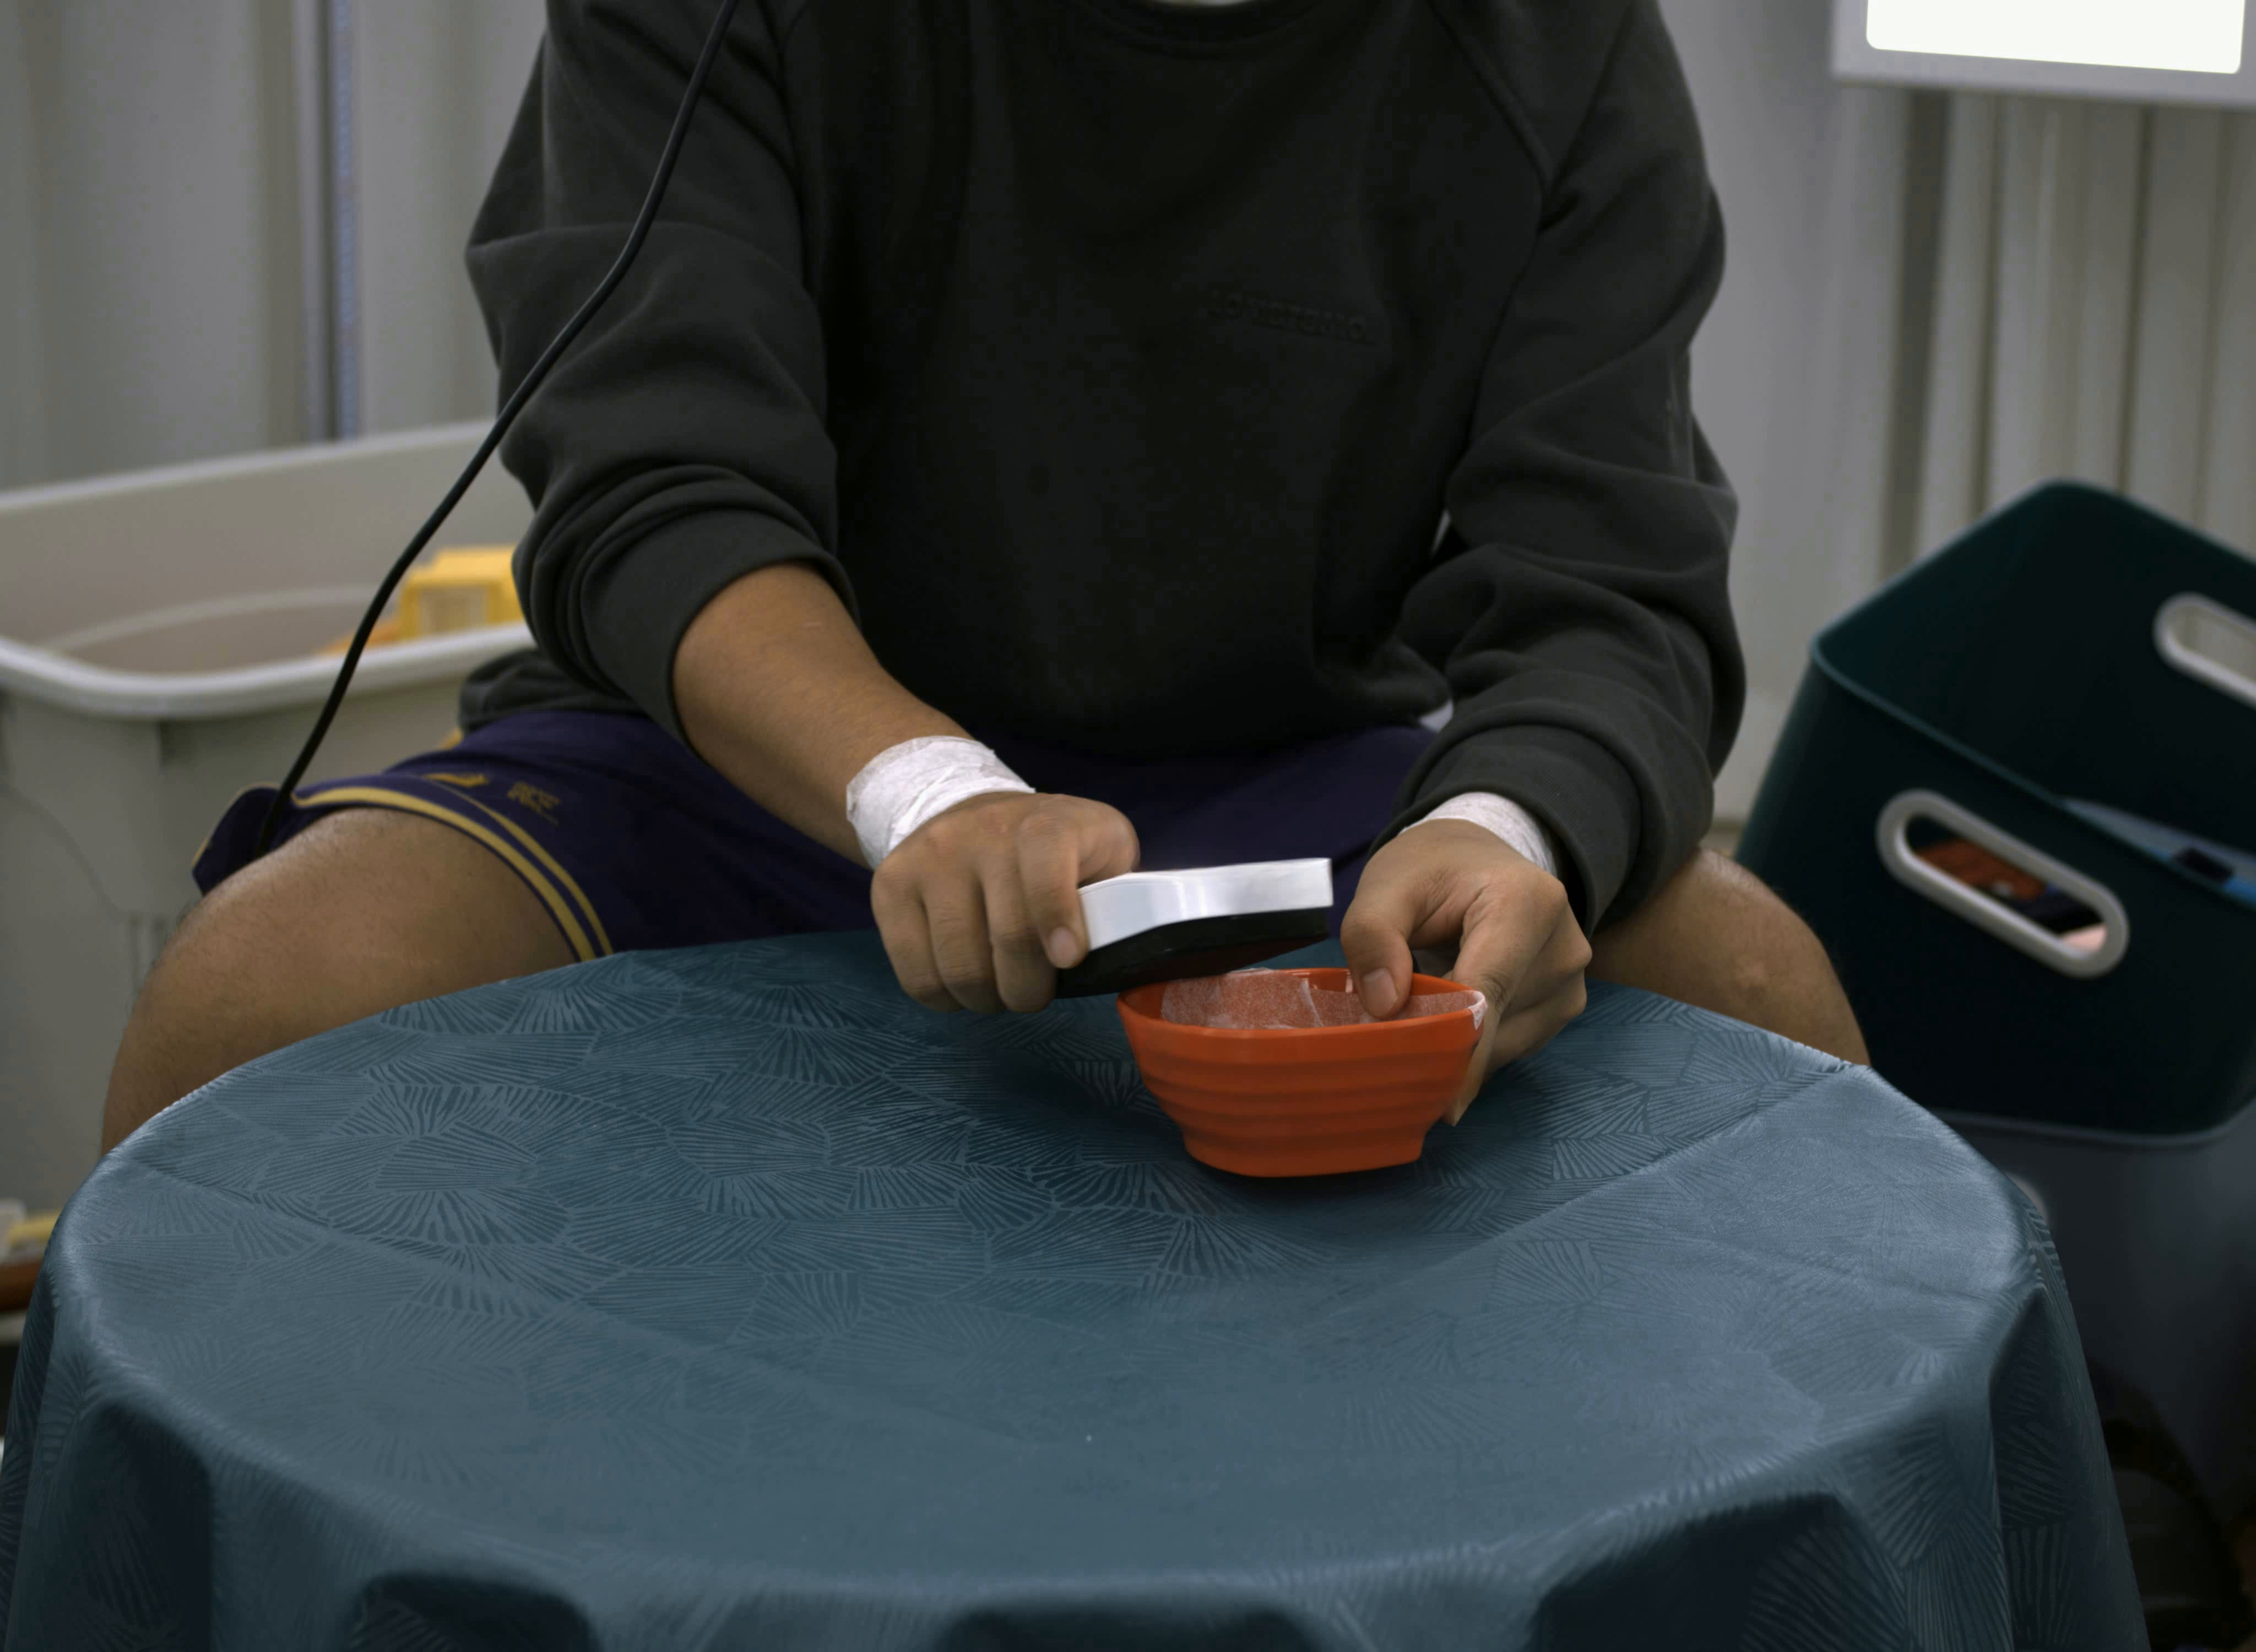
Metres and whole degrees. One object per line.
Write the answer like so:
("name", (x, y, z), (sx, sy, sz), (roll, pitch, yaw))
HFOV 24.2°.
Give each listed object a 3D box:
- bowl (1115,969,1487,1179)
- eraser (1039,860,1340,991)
("bowl", (0.054, 0.078, 1.639), (0.118, 0.051, 0.118), (-2, 7, 1))
("eraser", (0.020, 0.029, 1.648), (0.063, 0.034, 0.130), (-5, -5, -21))
